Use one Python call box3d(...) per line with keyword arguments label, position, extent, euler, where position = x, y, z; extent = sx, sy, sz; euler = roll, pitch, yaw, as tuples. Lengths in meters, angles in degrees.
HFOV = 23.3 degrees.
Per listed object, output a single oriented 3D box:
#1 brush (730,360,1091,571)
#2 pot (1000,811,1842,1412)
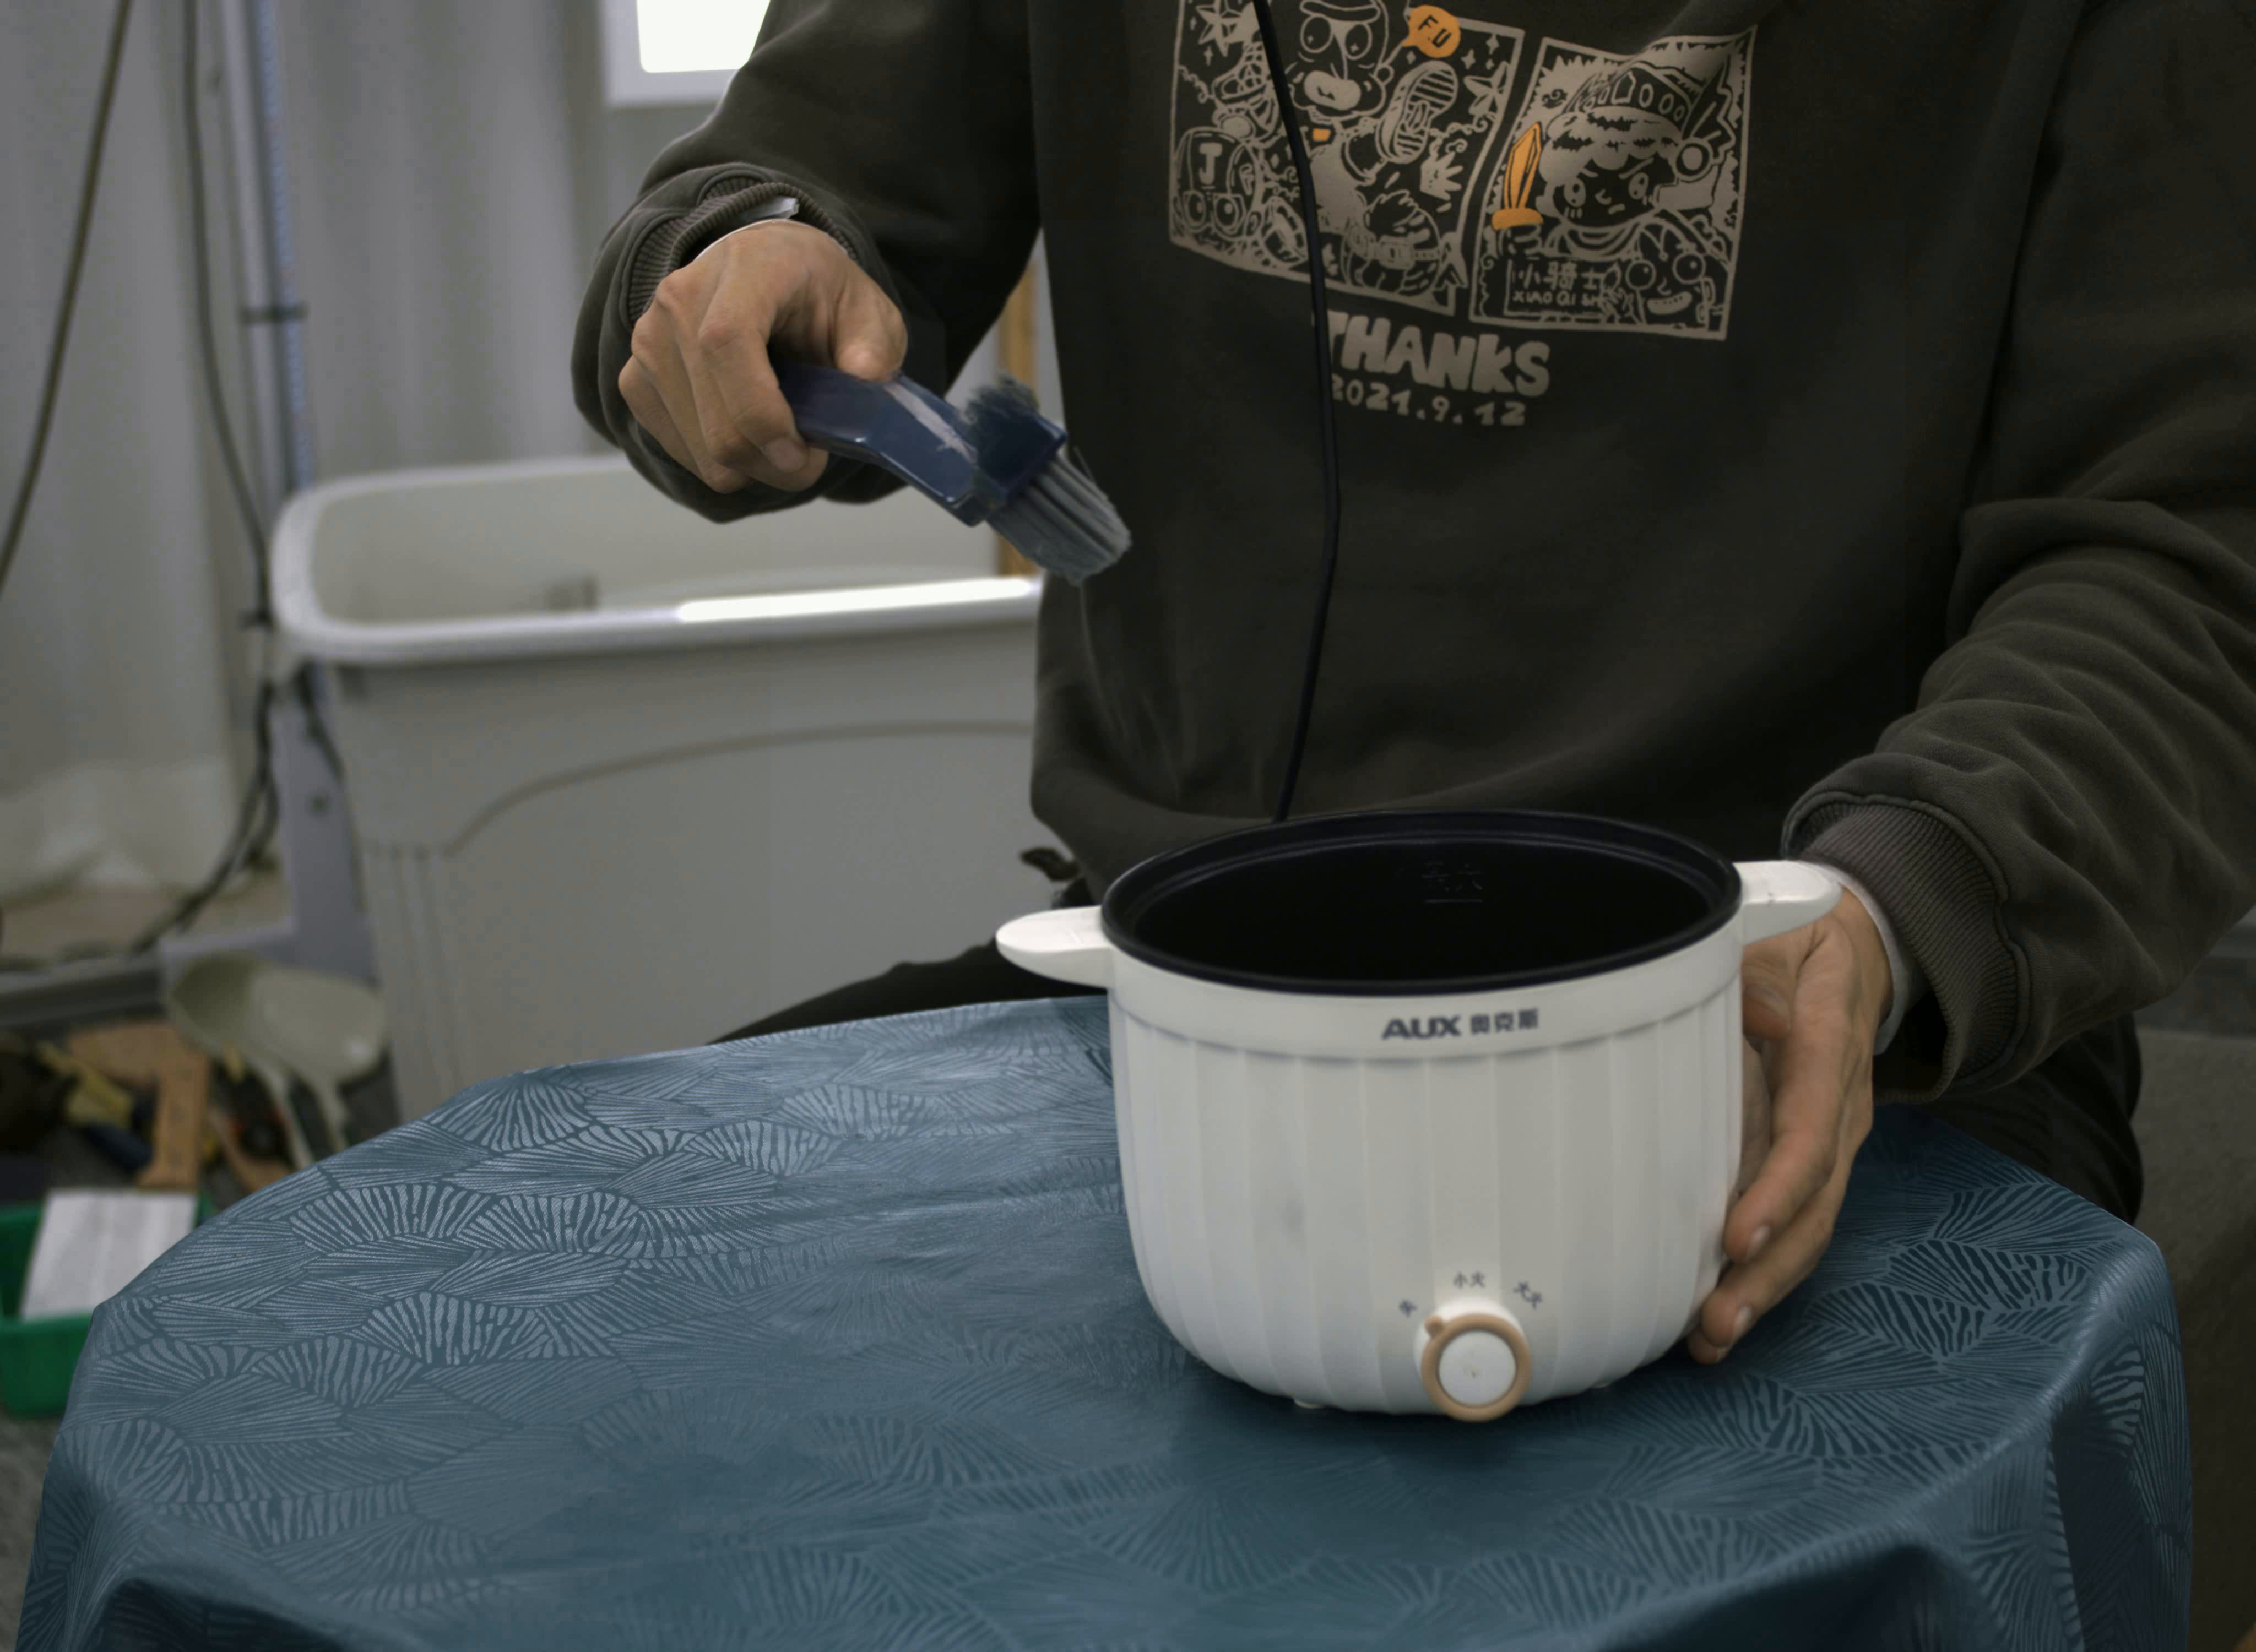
box3d(label="brush", position=(-0.077, -0.124, 1.629), extent=(0.033, 0.094, 0.275), euler=(-49, 29, -7))
box3d(label="pot", position=(0.088, 0.084, 1.553), extent=(0.239, 0.142, 0.191), euler=(-5, 11, -3))
